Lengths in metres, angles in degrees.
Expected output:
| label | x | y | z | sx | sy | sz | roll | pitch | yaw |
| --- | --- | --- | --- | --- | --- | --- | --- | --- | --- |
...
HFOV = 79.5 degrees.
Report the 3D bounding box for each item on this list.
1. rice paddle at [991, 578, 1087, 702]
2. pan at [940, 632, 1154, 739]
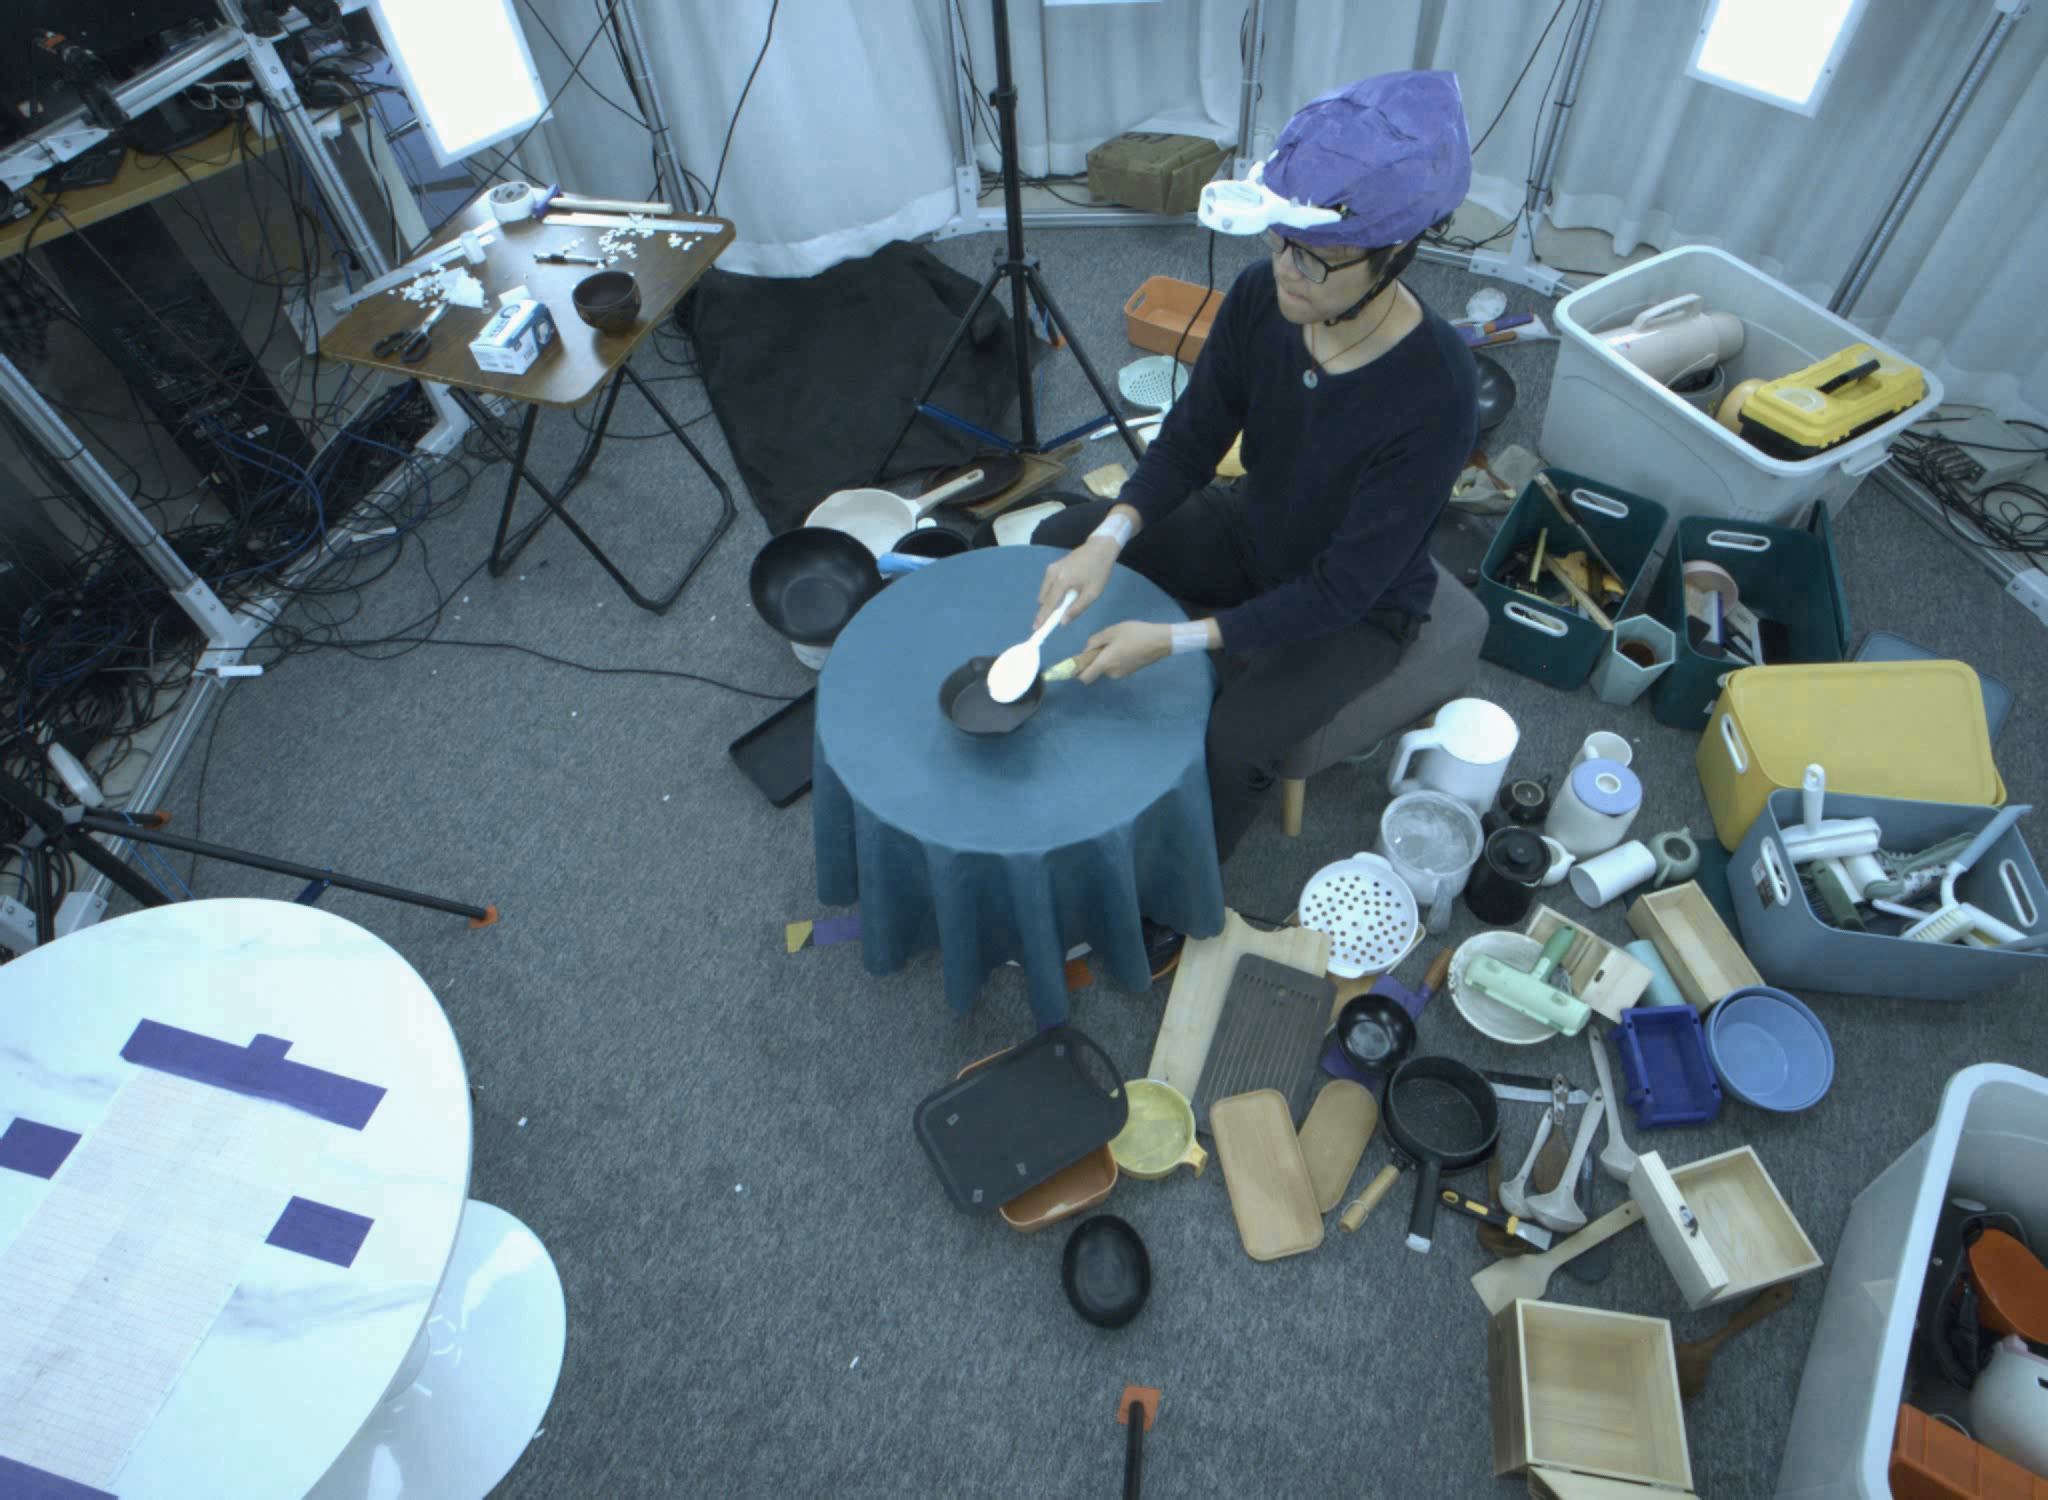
| label | x | y | z | sx | sy | sz | roll | pitch | yaw |
| --- | --- | --- | --- | --- | --- | --- | --- | --- | --- |
| rice paddle | 0.021 | -0.158 | 1.778 | 0.067 | 0.030 | 0.205 | 34 | 88 | 25 |
| pan | 0.038 | -0.105 | 1.773 | 0.325 | 0.050 | 0.166 | -19 | 49 | -6 |
